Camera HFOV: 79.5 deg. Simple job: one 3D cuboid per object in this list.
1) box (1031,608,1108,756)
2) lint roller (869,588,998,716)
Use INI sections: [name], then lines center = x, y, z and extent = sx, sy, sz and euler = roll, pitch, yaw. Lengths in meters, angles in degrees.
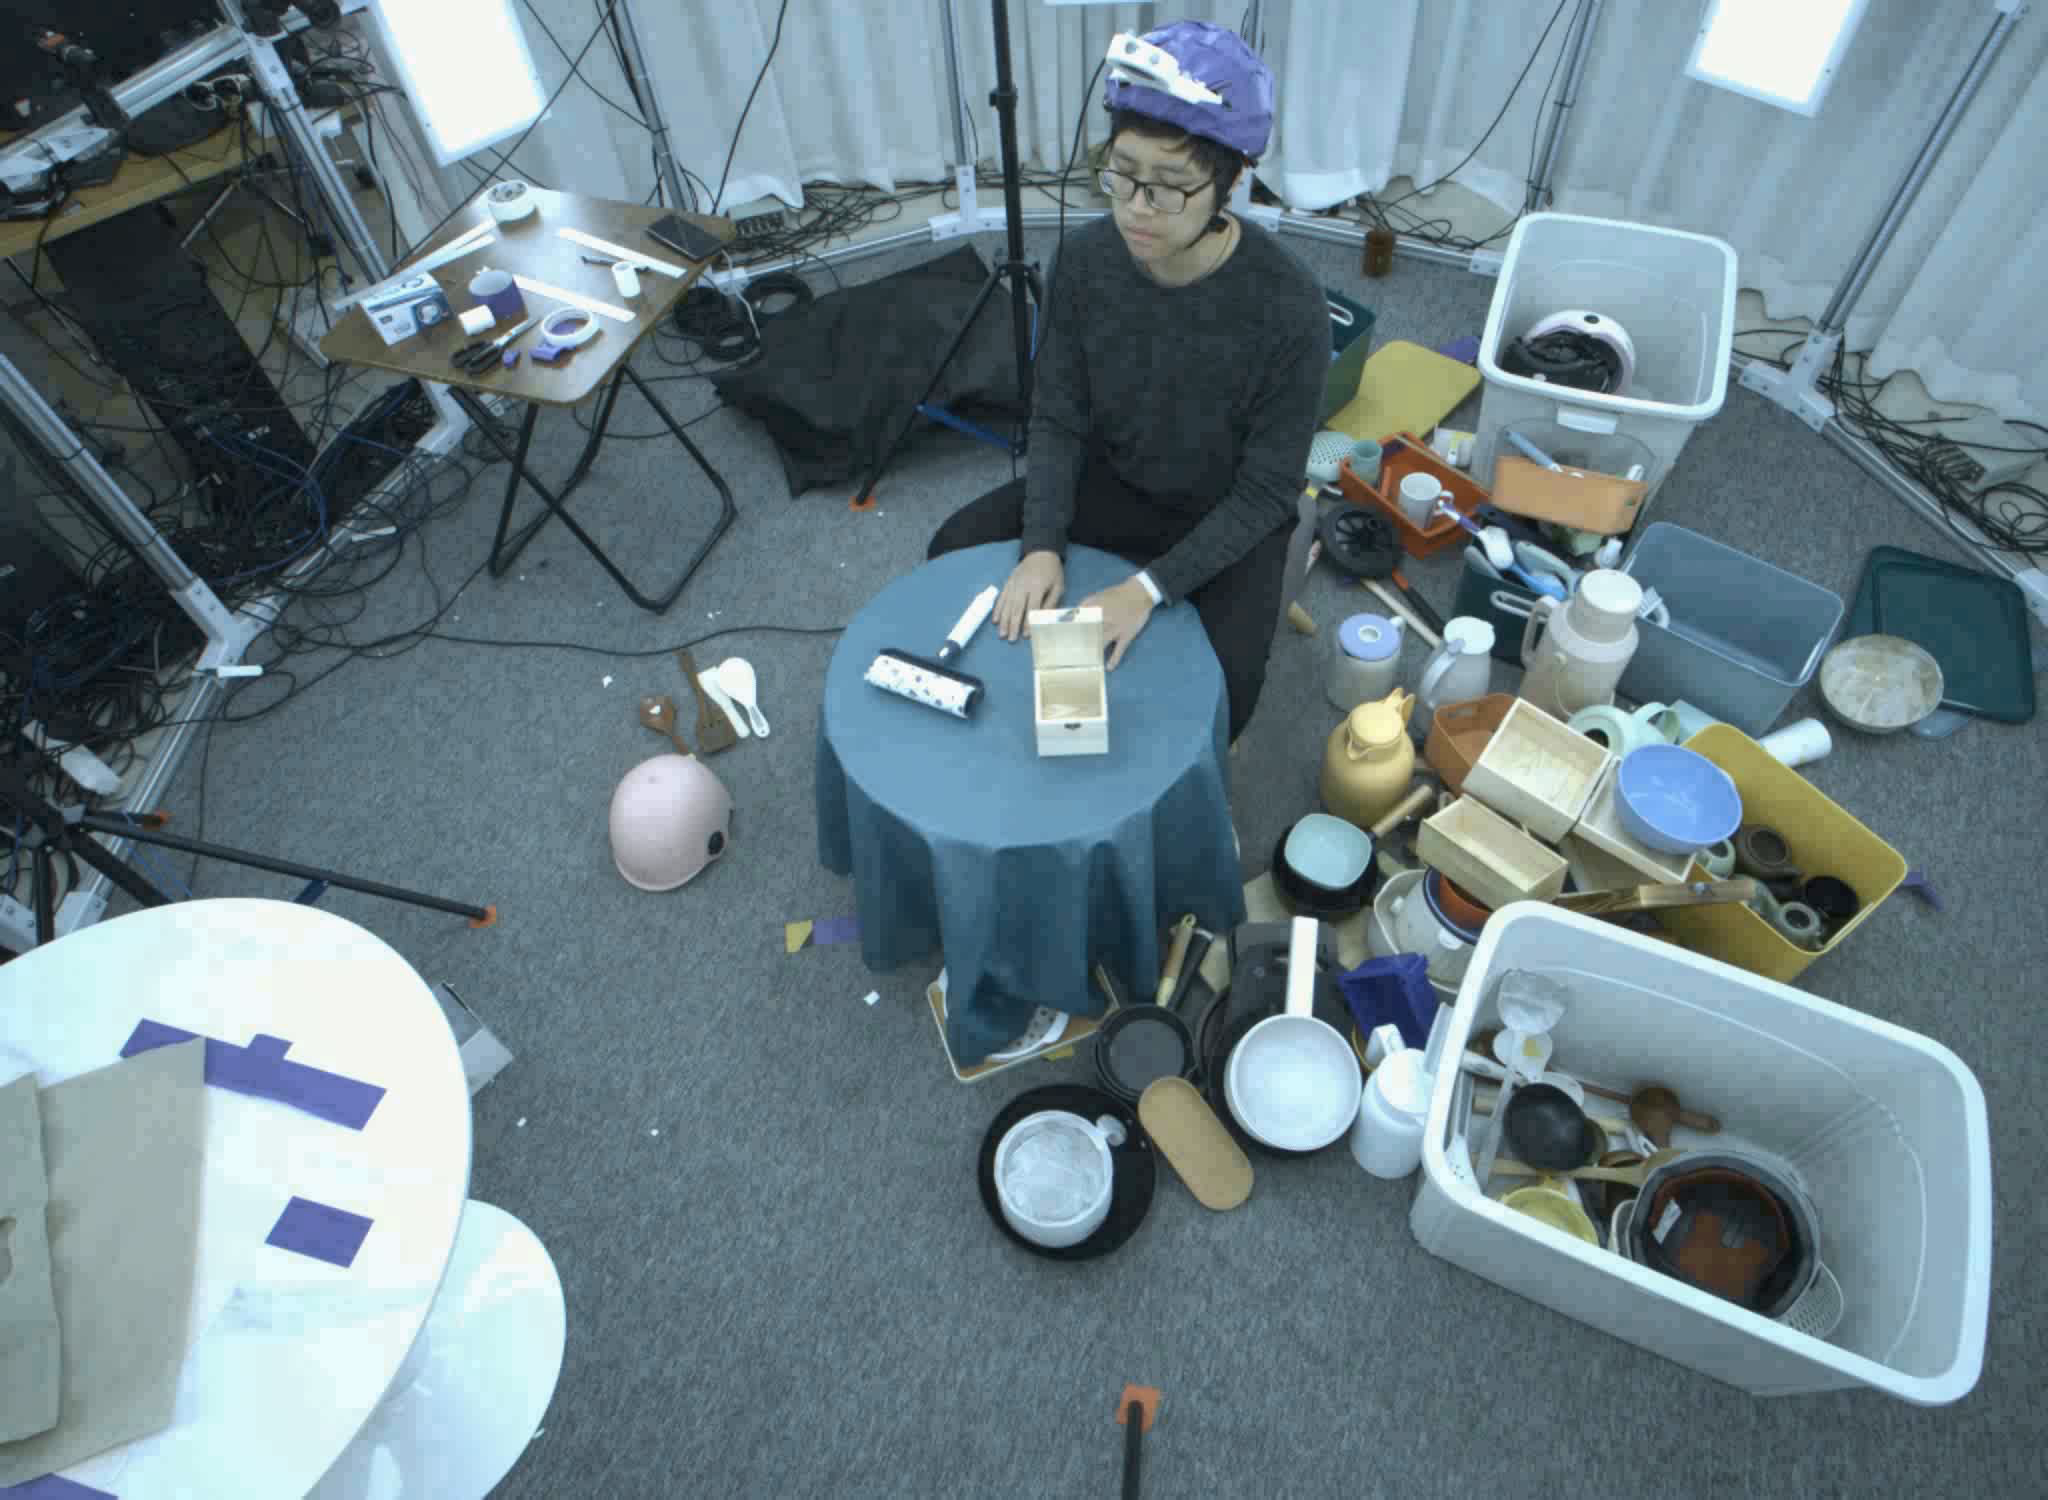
[box]
center = 0.065, -0.094, 1.740
extent = 0.102, 0.186, 0.132
euler = -3, 54, 1
[lint roller]
center = -0.106, -0.170, 1.885
extent = 0.174, 0.051, 0.247
euler = 20, 57, 16
